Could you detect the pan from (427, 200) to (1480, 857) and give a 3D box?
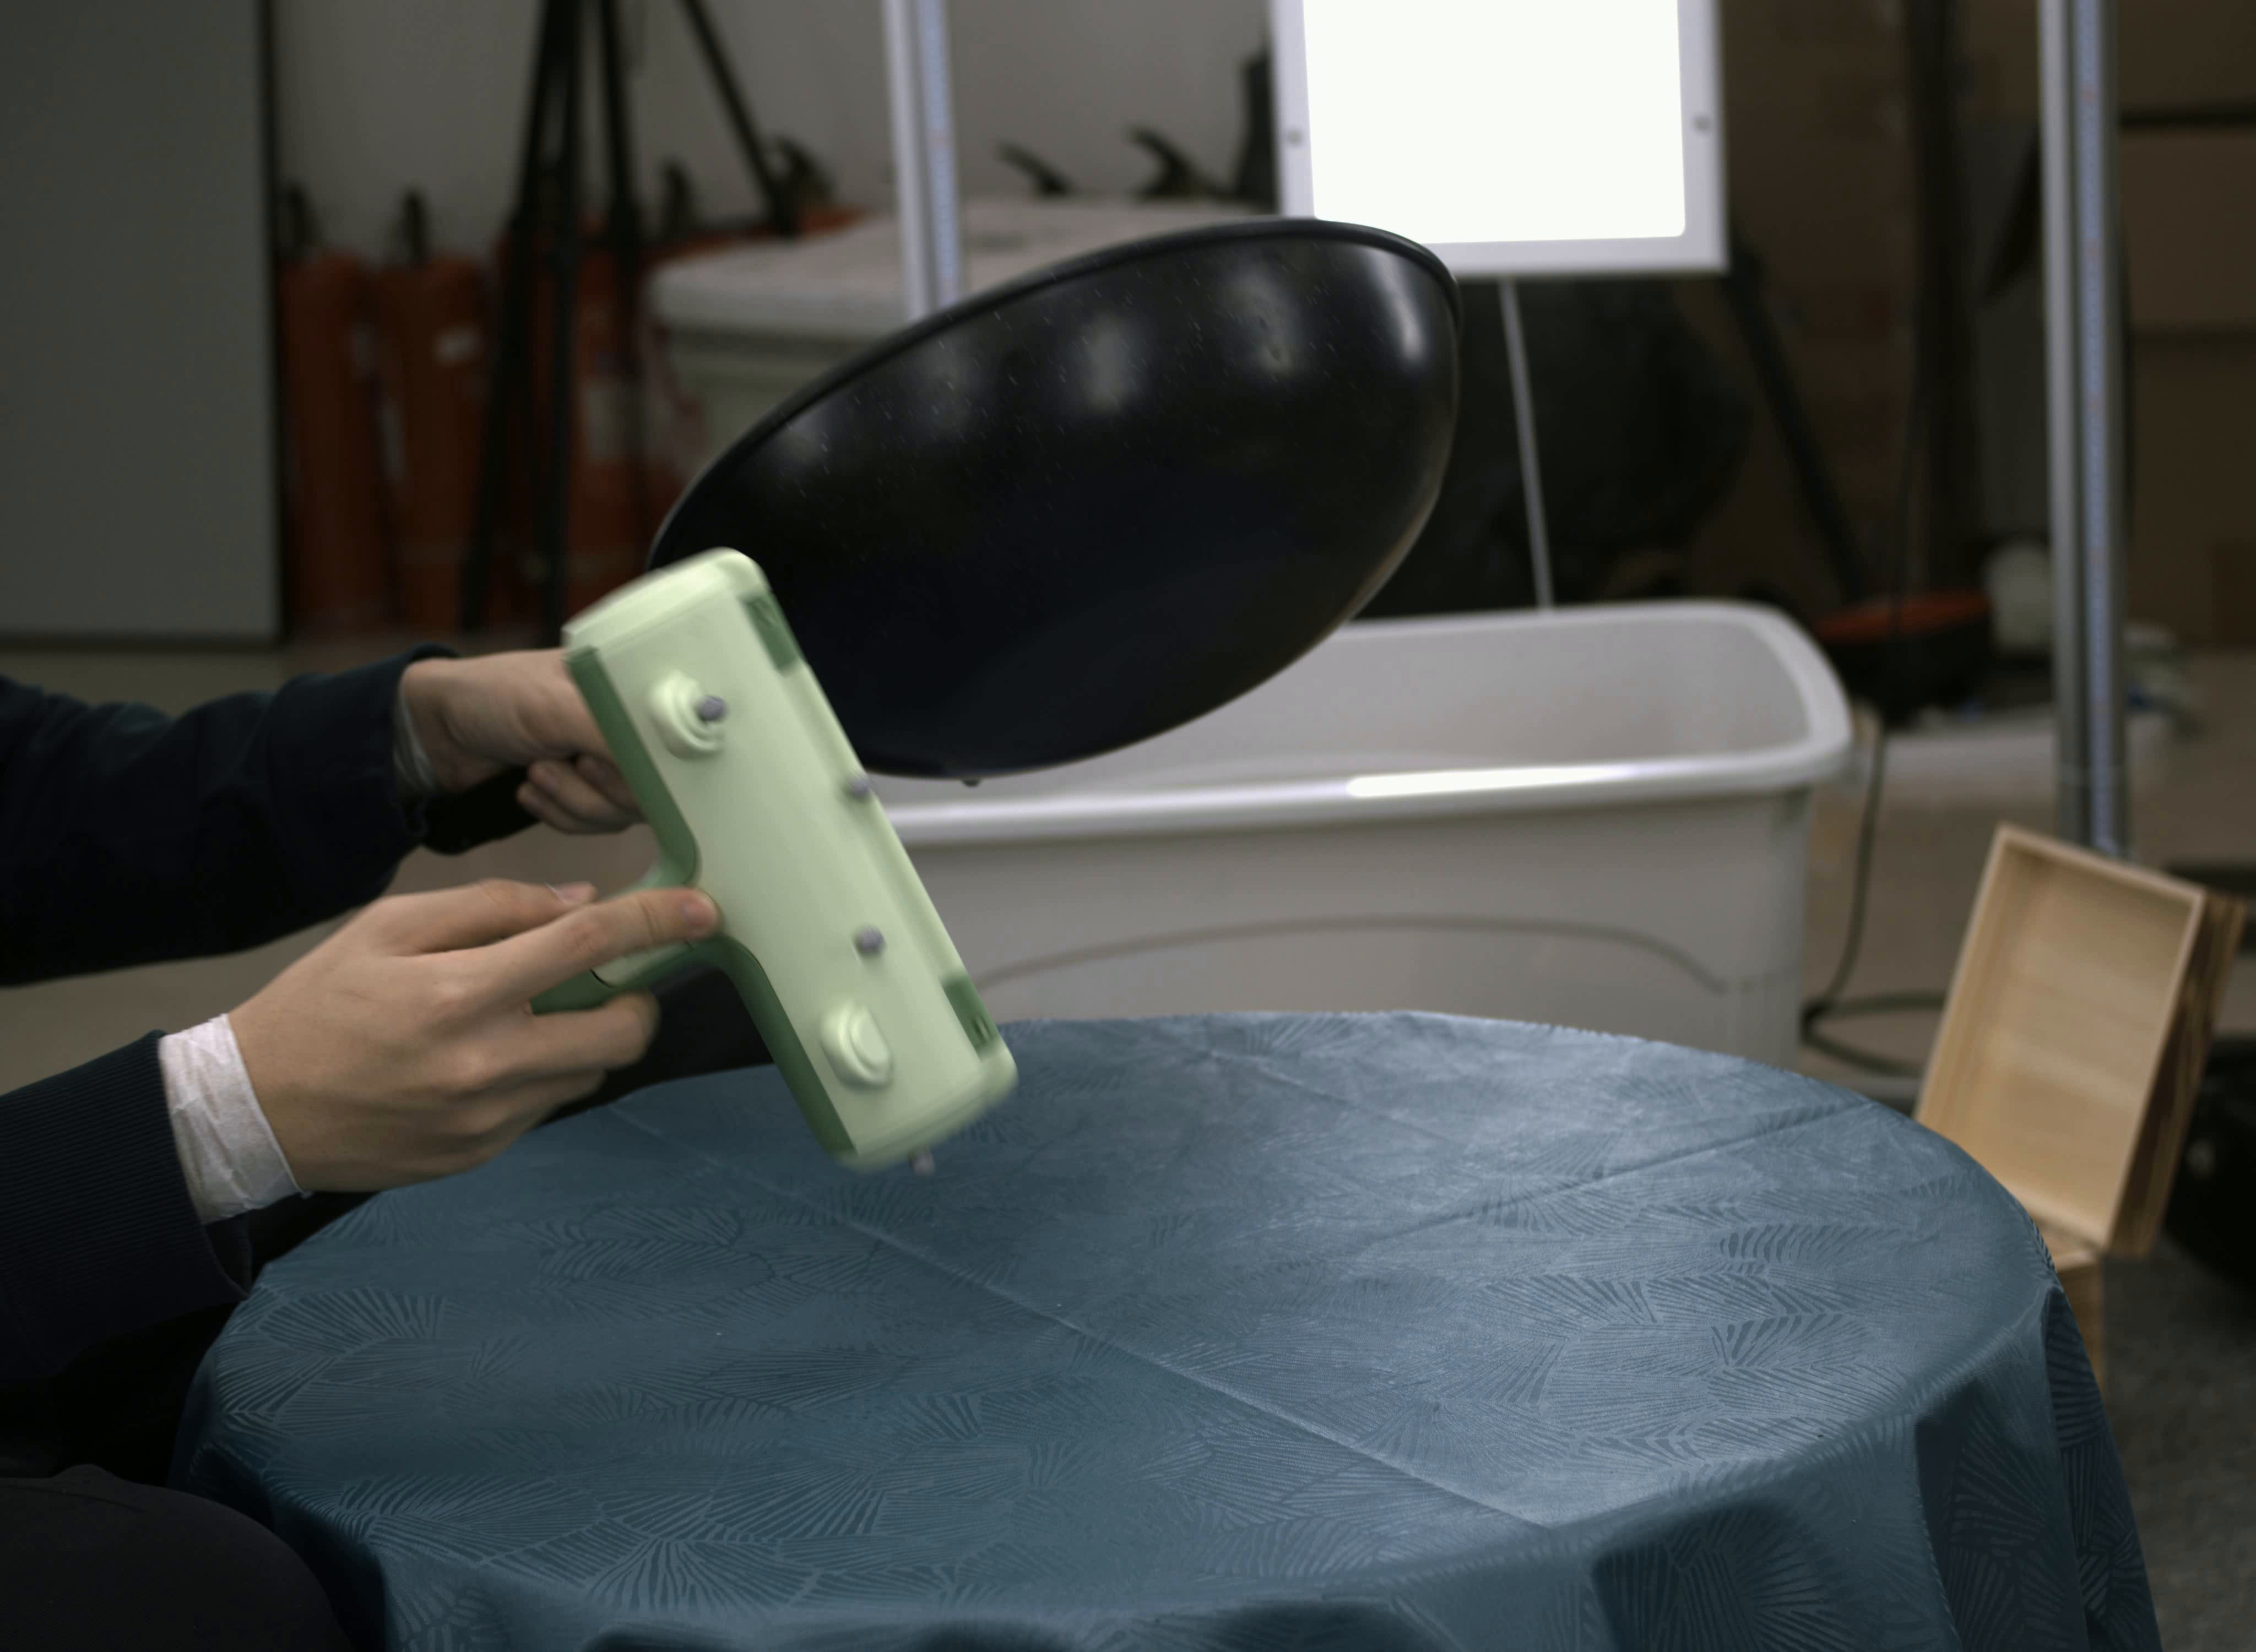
[{"bbox_3d":[-0.072,-0.066,1.971,0.486,0.112,0.303,-33,-24,30],"label":"pan"}]

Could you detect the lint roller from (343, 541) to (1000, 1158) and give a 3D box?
[{"bbox_3d":[-0.160,0.037,1.718,0.182,0.198,0.083,-30,10,-8],"label":"lint roller"}]
